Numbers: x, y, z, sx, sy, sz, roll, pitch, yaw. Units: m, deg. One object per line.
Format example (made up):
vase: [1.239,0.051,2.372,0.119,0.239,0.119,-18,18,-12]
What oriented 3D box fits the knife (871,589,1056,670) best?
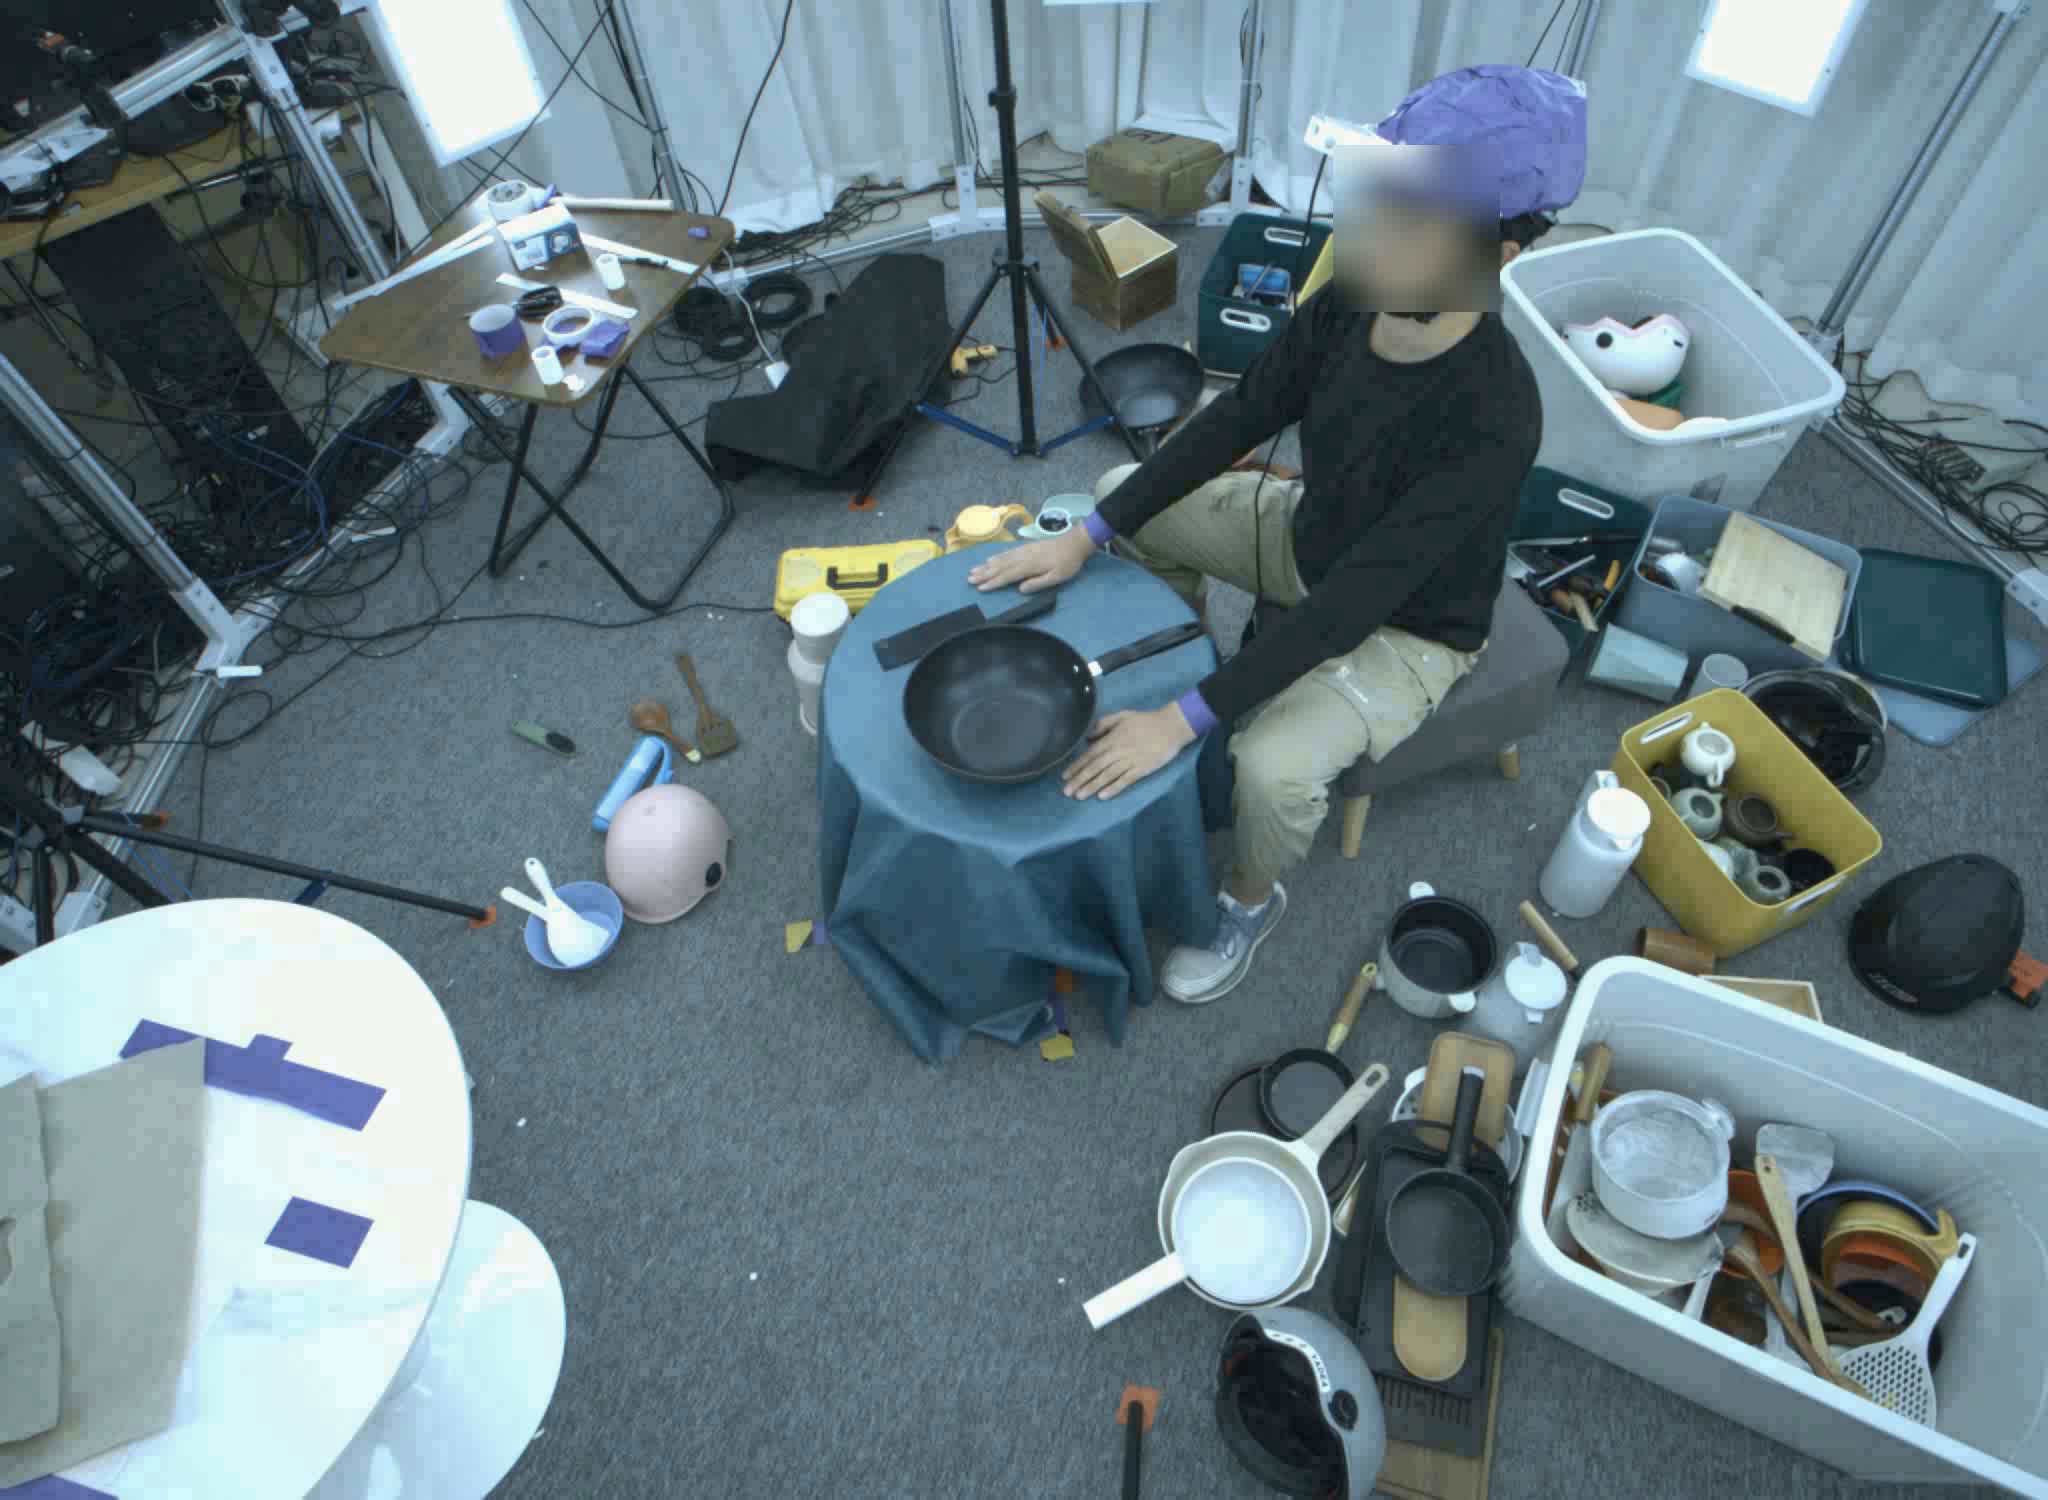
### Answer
knife: [-0.092,-0.196,1.918,0.304,0.021,0.079,-18,54,-9]

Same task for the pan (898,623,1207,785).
pan: [0.048,-0.083,1.790,0.467,0.088,0.283,-19,56,-12]
